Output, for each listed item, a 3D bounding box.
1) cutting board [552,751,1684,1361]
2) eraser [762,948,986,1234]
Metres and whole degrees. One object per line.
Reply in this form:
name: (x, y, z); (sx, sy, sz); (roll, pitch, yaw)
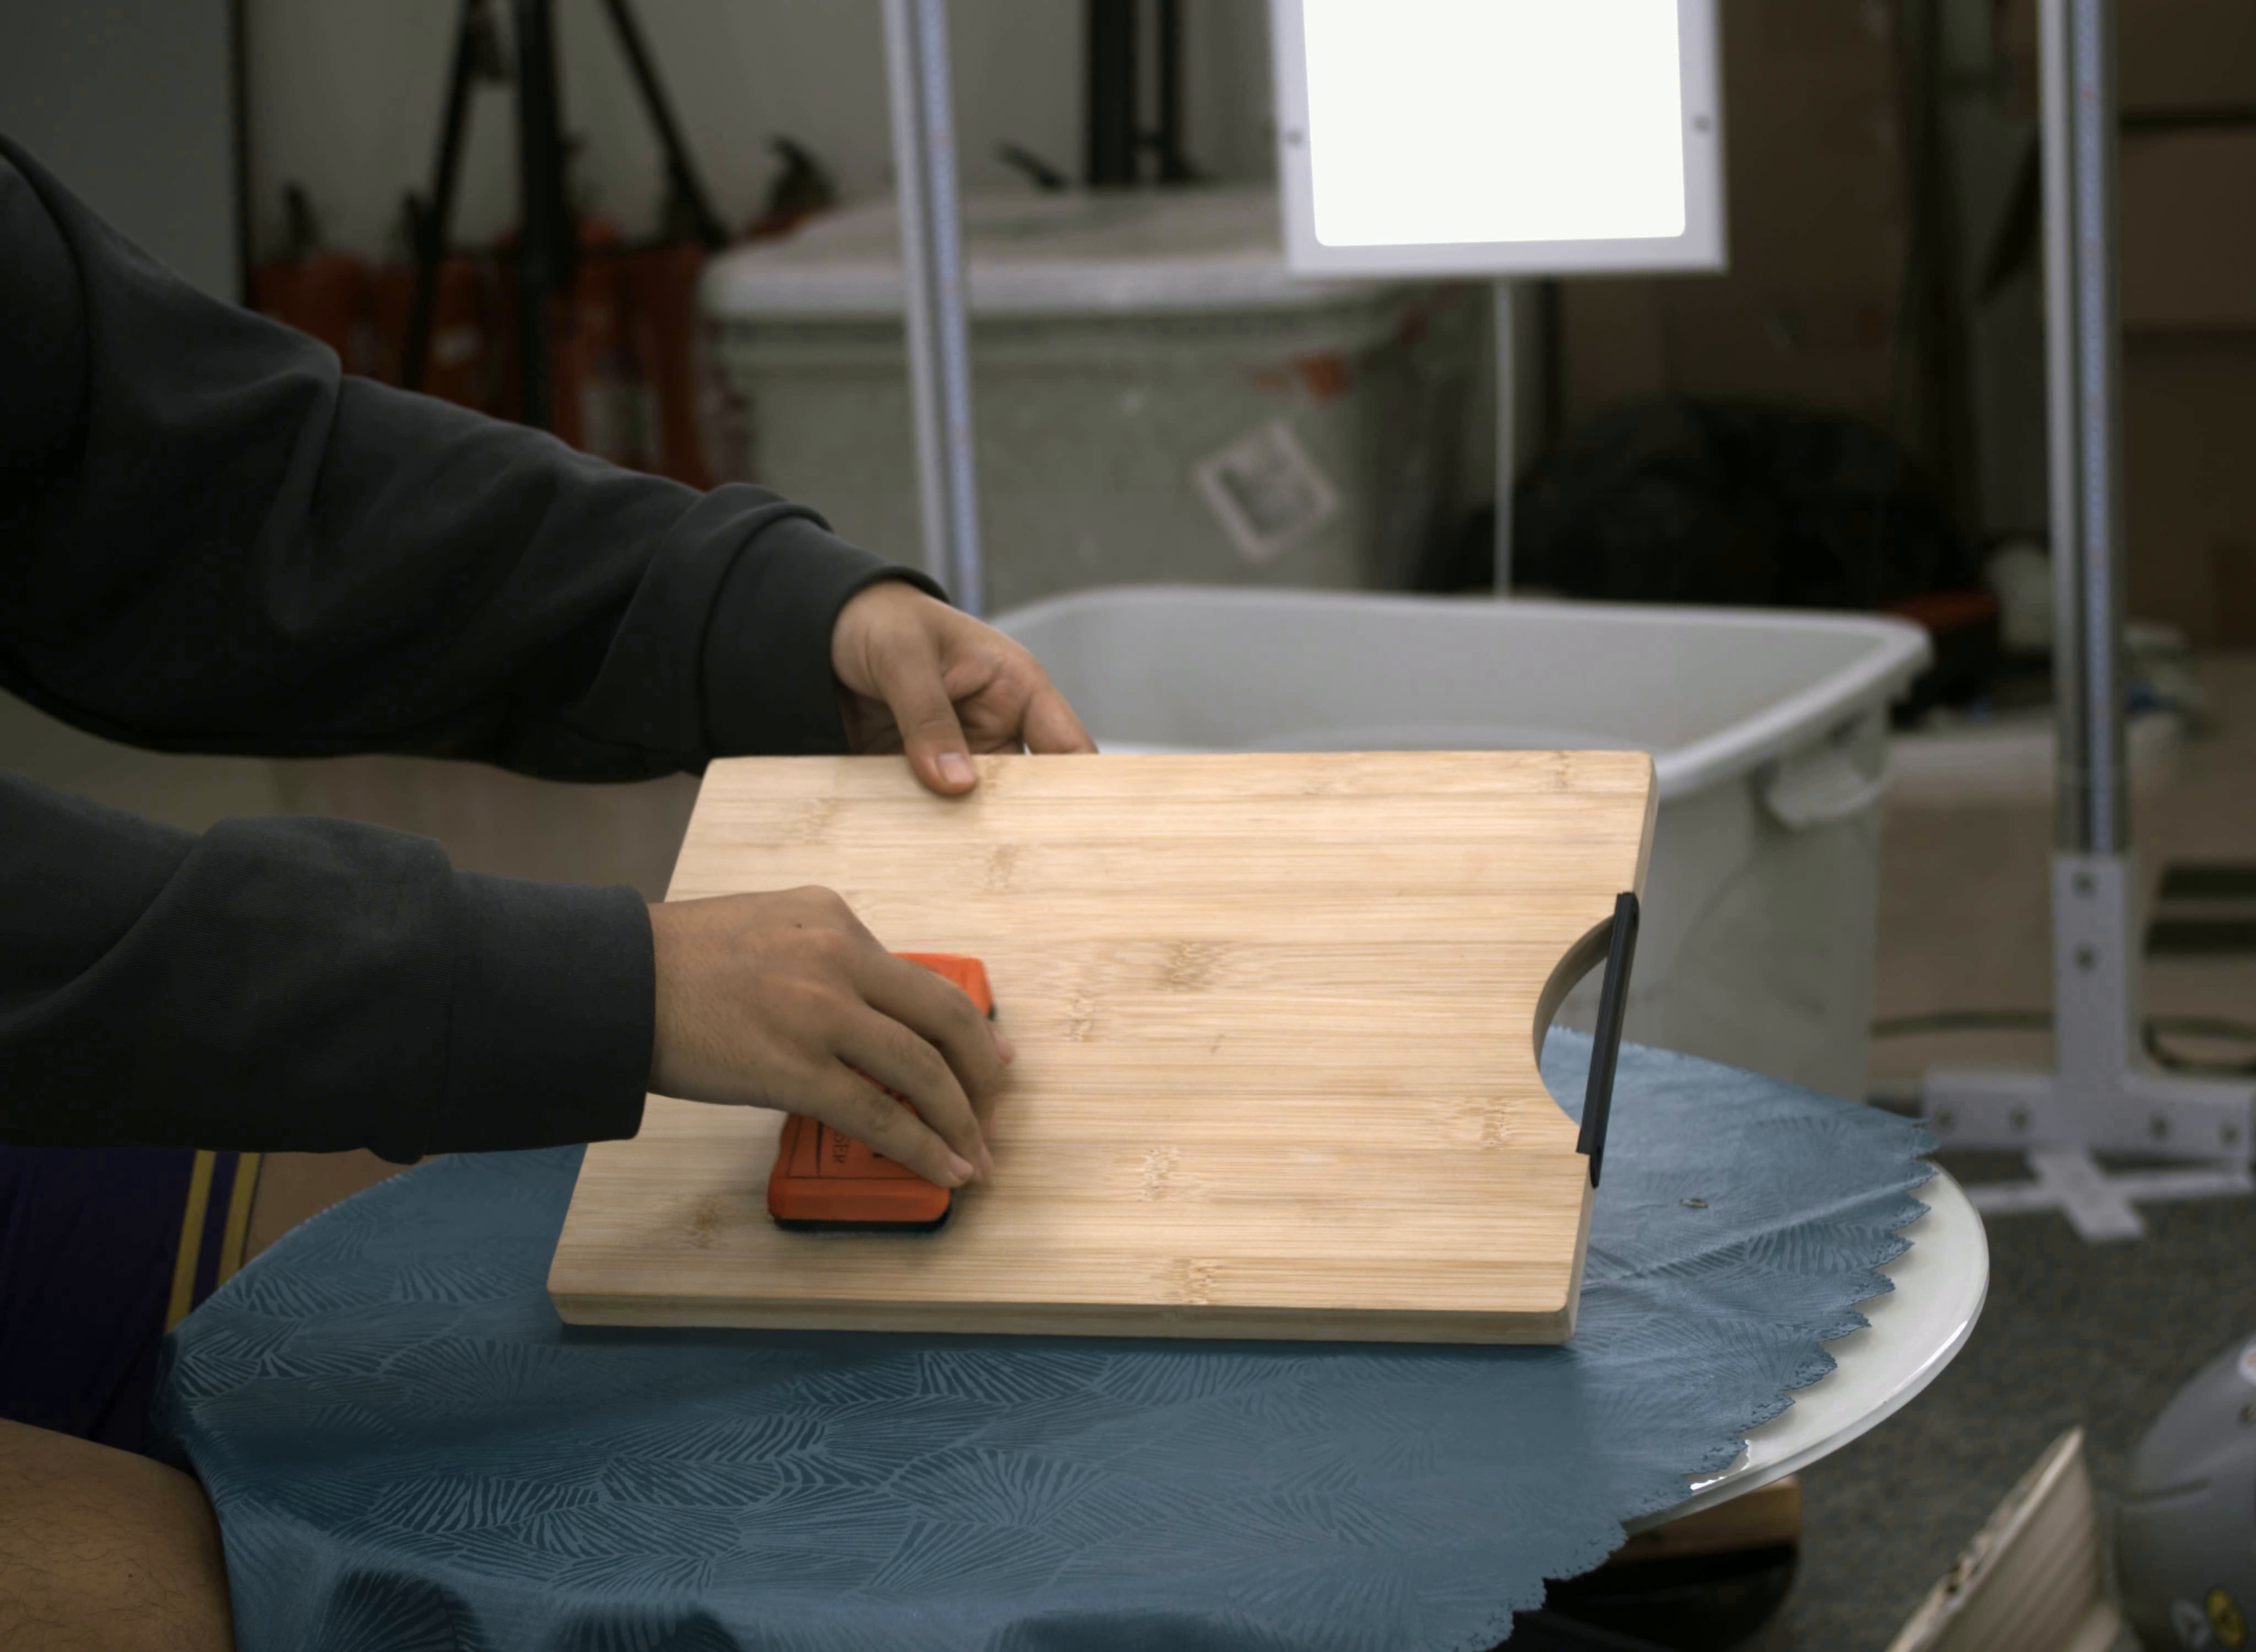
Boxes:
cutting board: (0.001, 0.070, 1.827); (0.352, 0.023, 0.248); (-1, 48, 17)
eraser: (-0.082, 0.086, 1.805); (0.059, 0.023, 0.107); (0, 45, 12)
